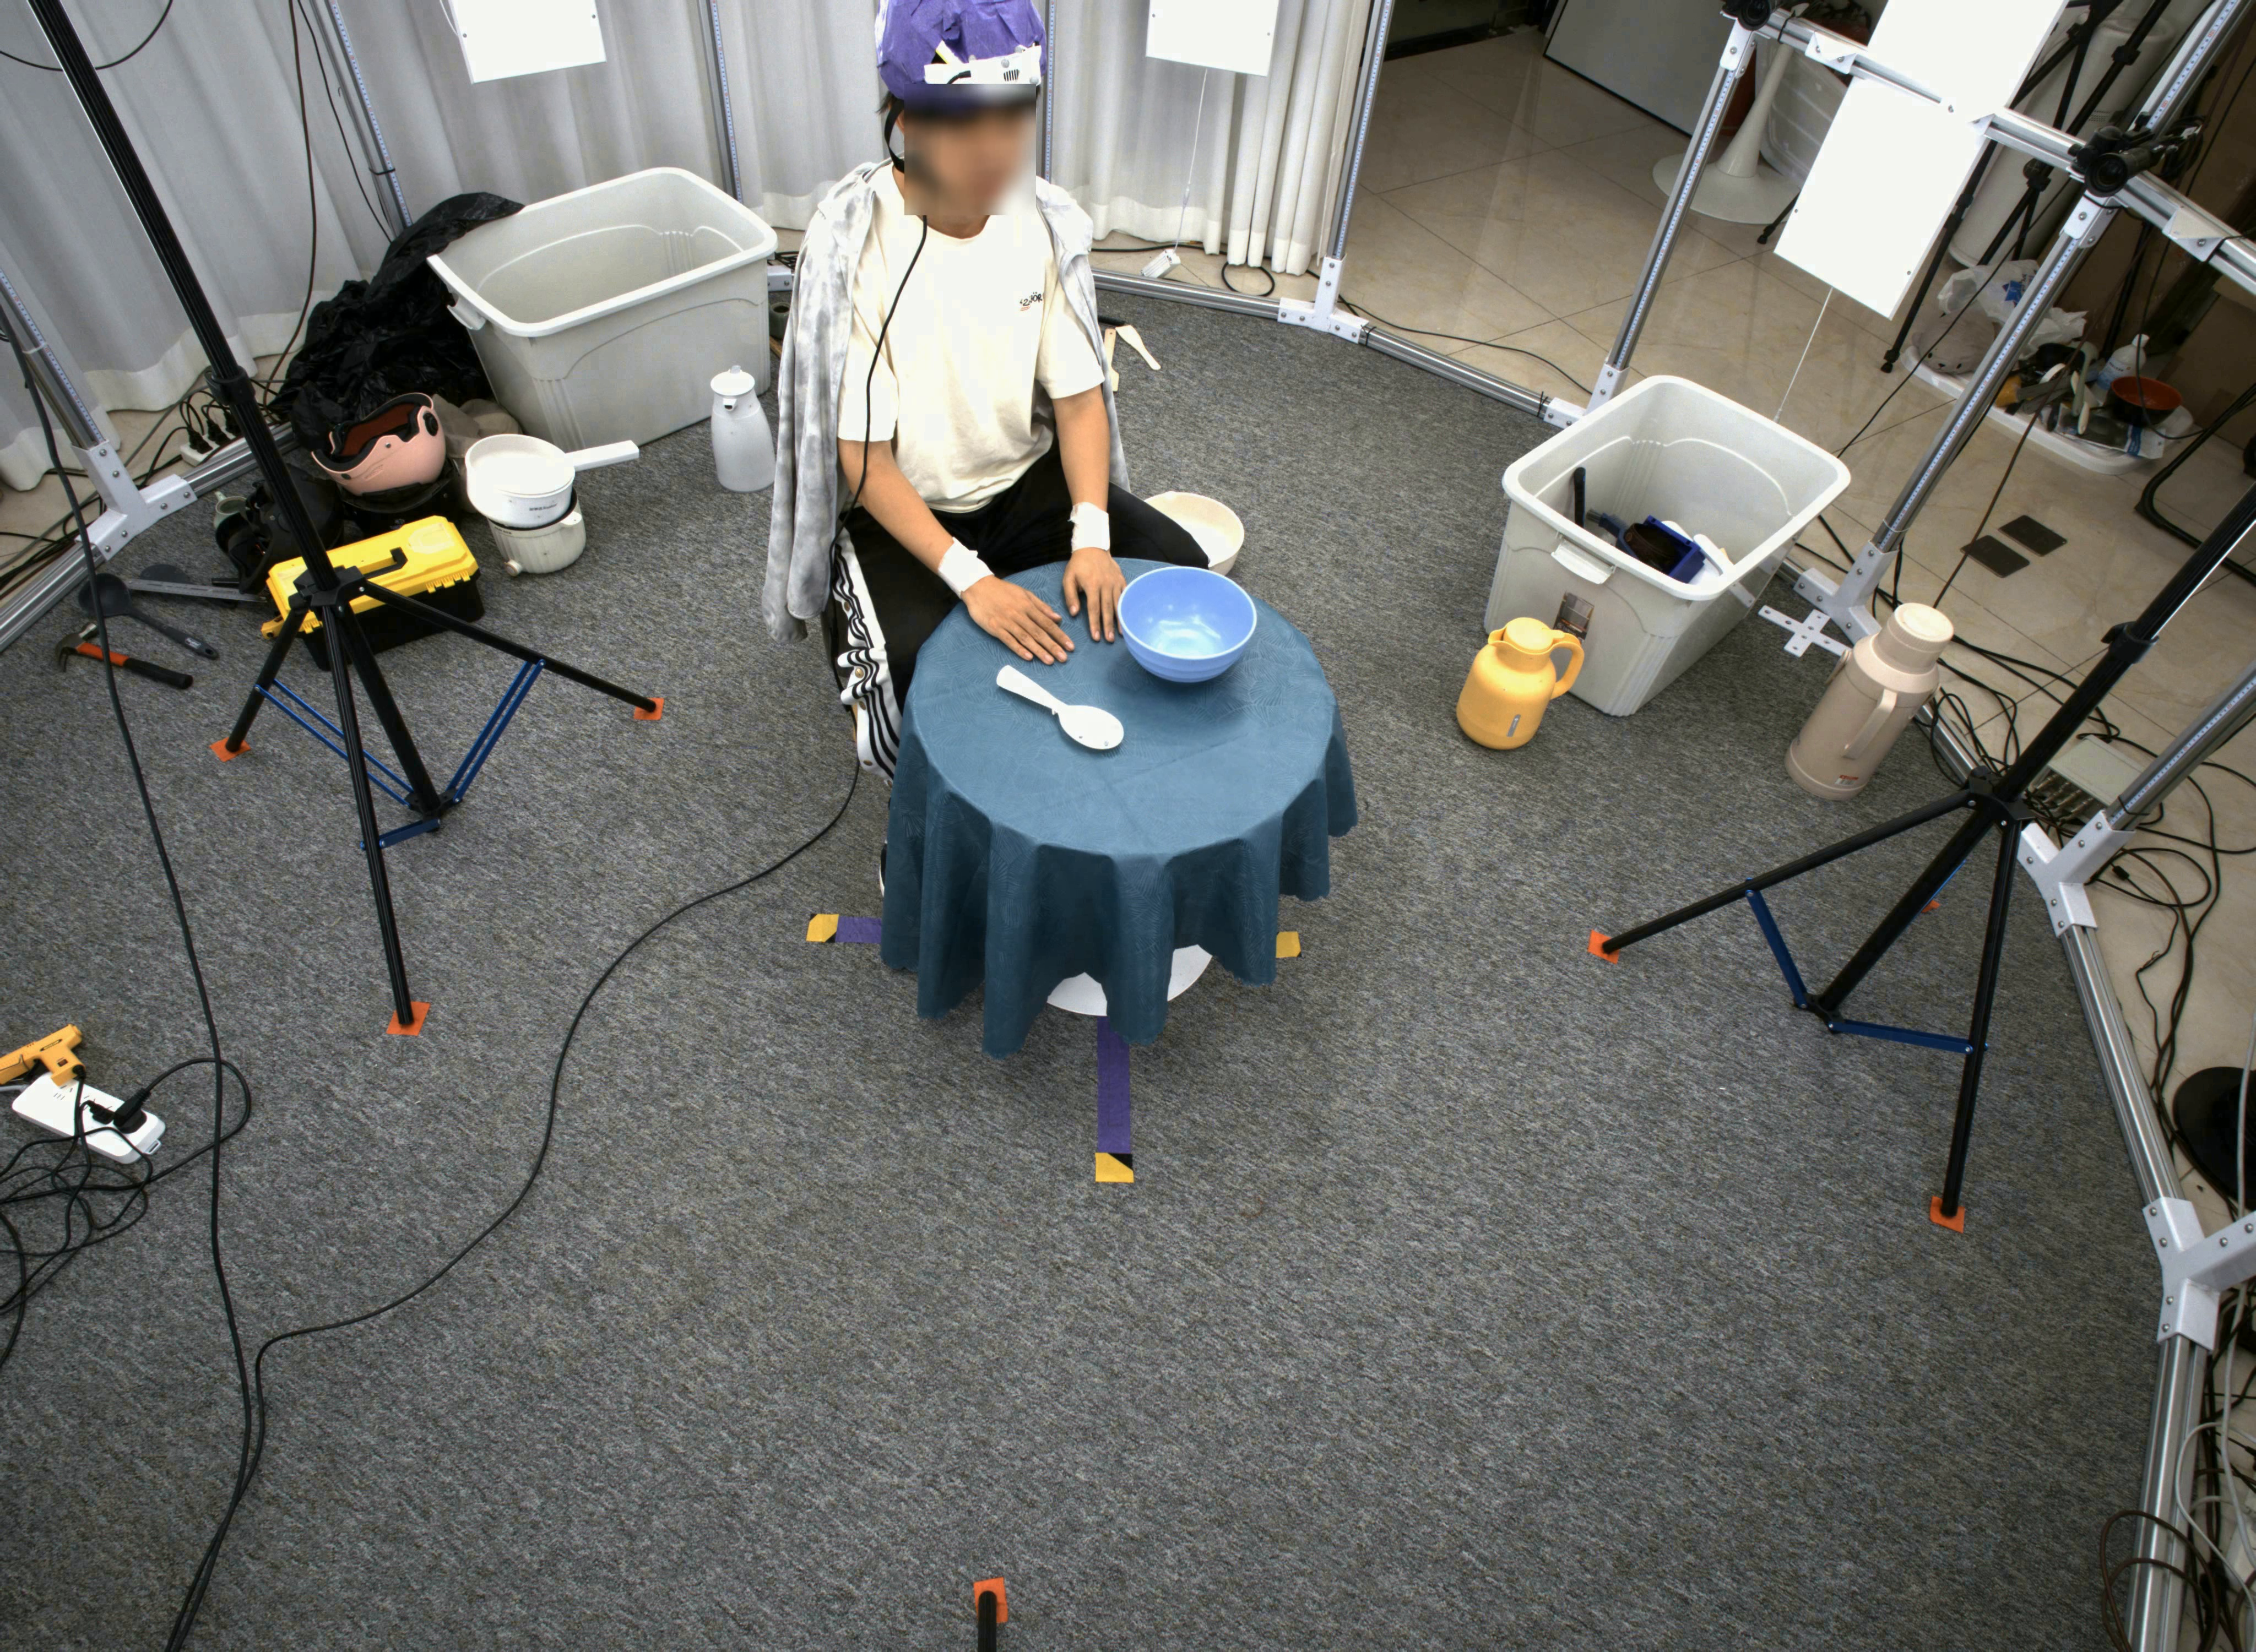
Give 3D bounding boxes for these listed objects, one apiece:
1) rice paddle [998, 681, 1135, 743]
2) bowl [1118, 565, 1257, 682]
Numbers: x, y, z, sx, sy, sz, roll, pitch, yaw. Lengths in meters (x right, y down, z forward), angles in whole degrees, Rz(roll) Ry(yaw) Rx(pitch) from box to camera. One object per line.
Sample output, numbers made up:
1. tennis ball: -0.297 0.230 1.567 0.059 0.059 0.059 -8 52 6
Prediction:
1. rice paddle: -0.084 -0.157 1.778 0.207 0.029 0.070 21 38 18
2. bowl: 0.081 -0.275 1.843 0.196 0.093 0.201 2 50 -2
